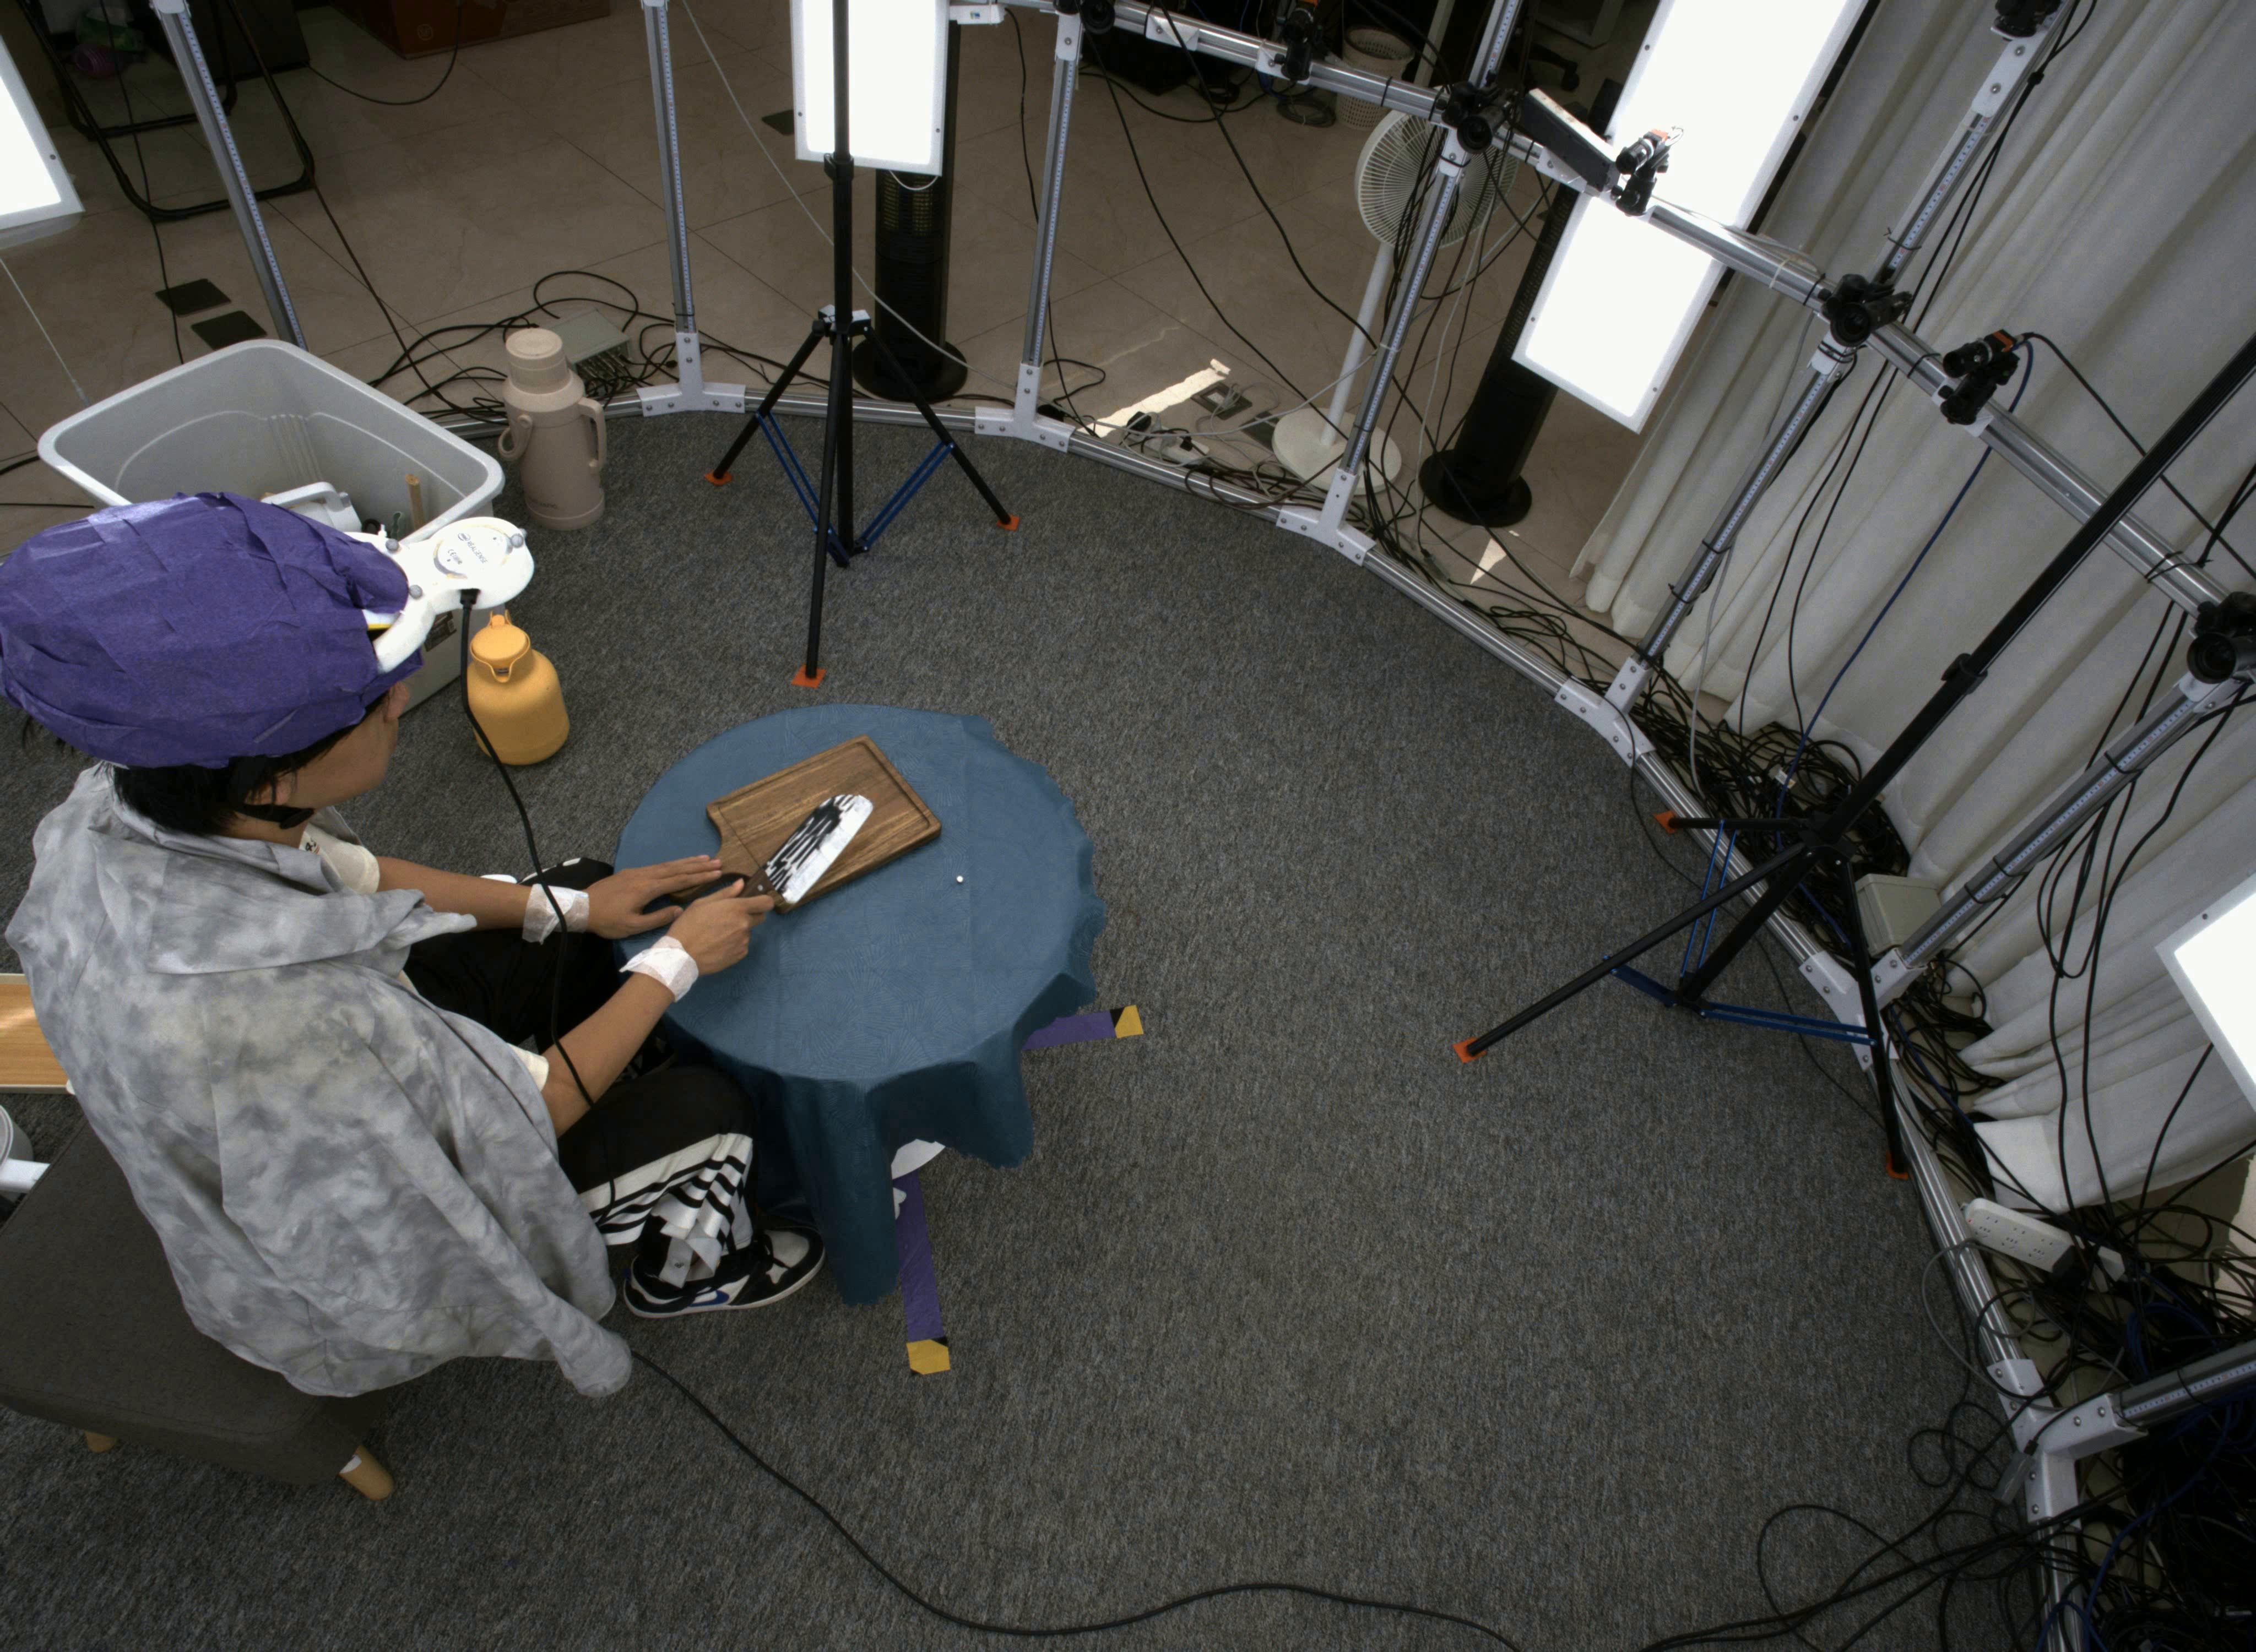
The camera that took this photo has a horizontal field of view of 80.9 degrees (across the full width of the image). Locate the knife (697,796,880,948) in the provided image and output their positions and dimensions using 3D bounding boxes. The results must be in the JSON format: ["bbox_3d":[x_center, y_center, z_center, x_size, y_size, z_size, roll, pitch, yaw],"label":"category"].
[{"bbox_3d":[-0.414,0.057,1.608,0.023,0.070,0.299,3,43,43],"label":"knife"}]

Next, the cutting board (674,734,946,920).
[{"bbox_3d":[-0.435,0.015,1.702,0.353,0.023,0.196,-30,67,-29],"label":"cutting board"}]
